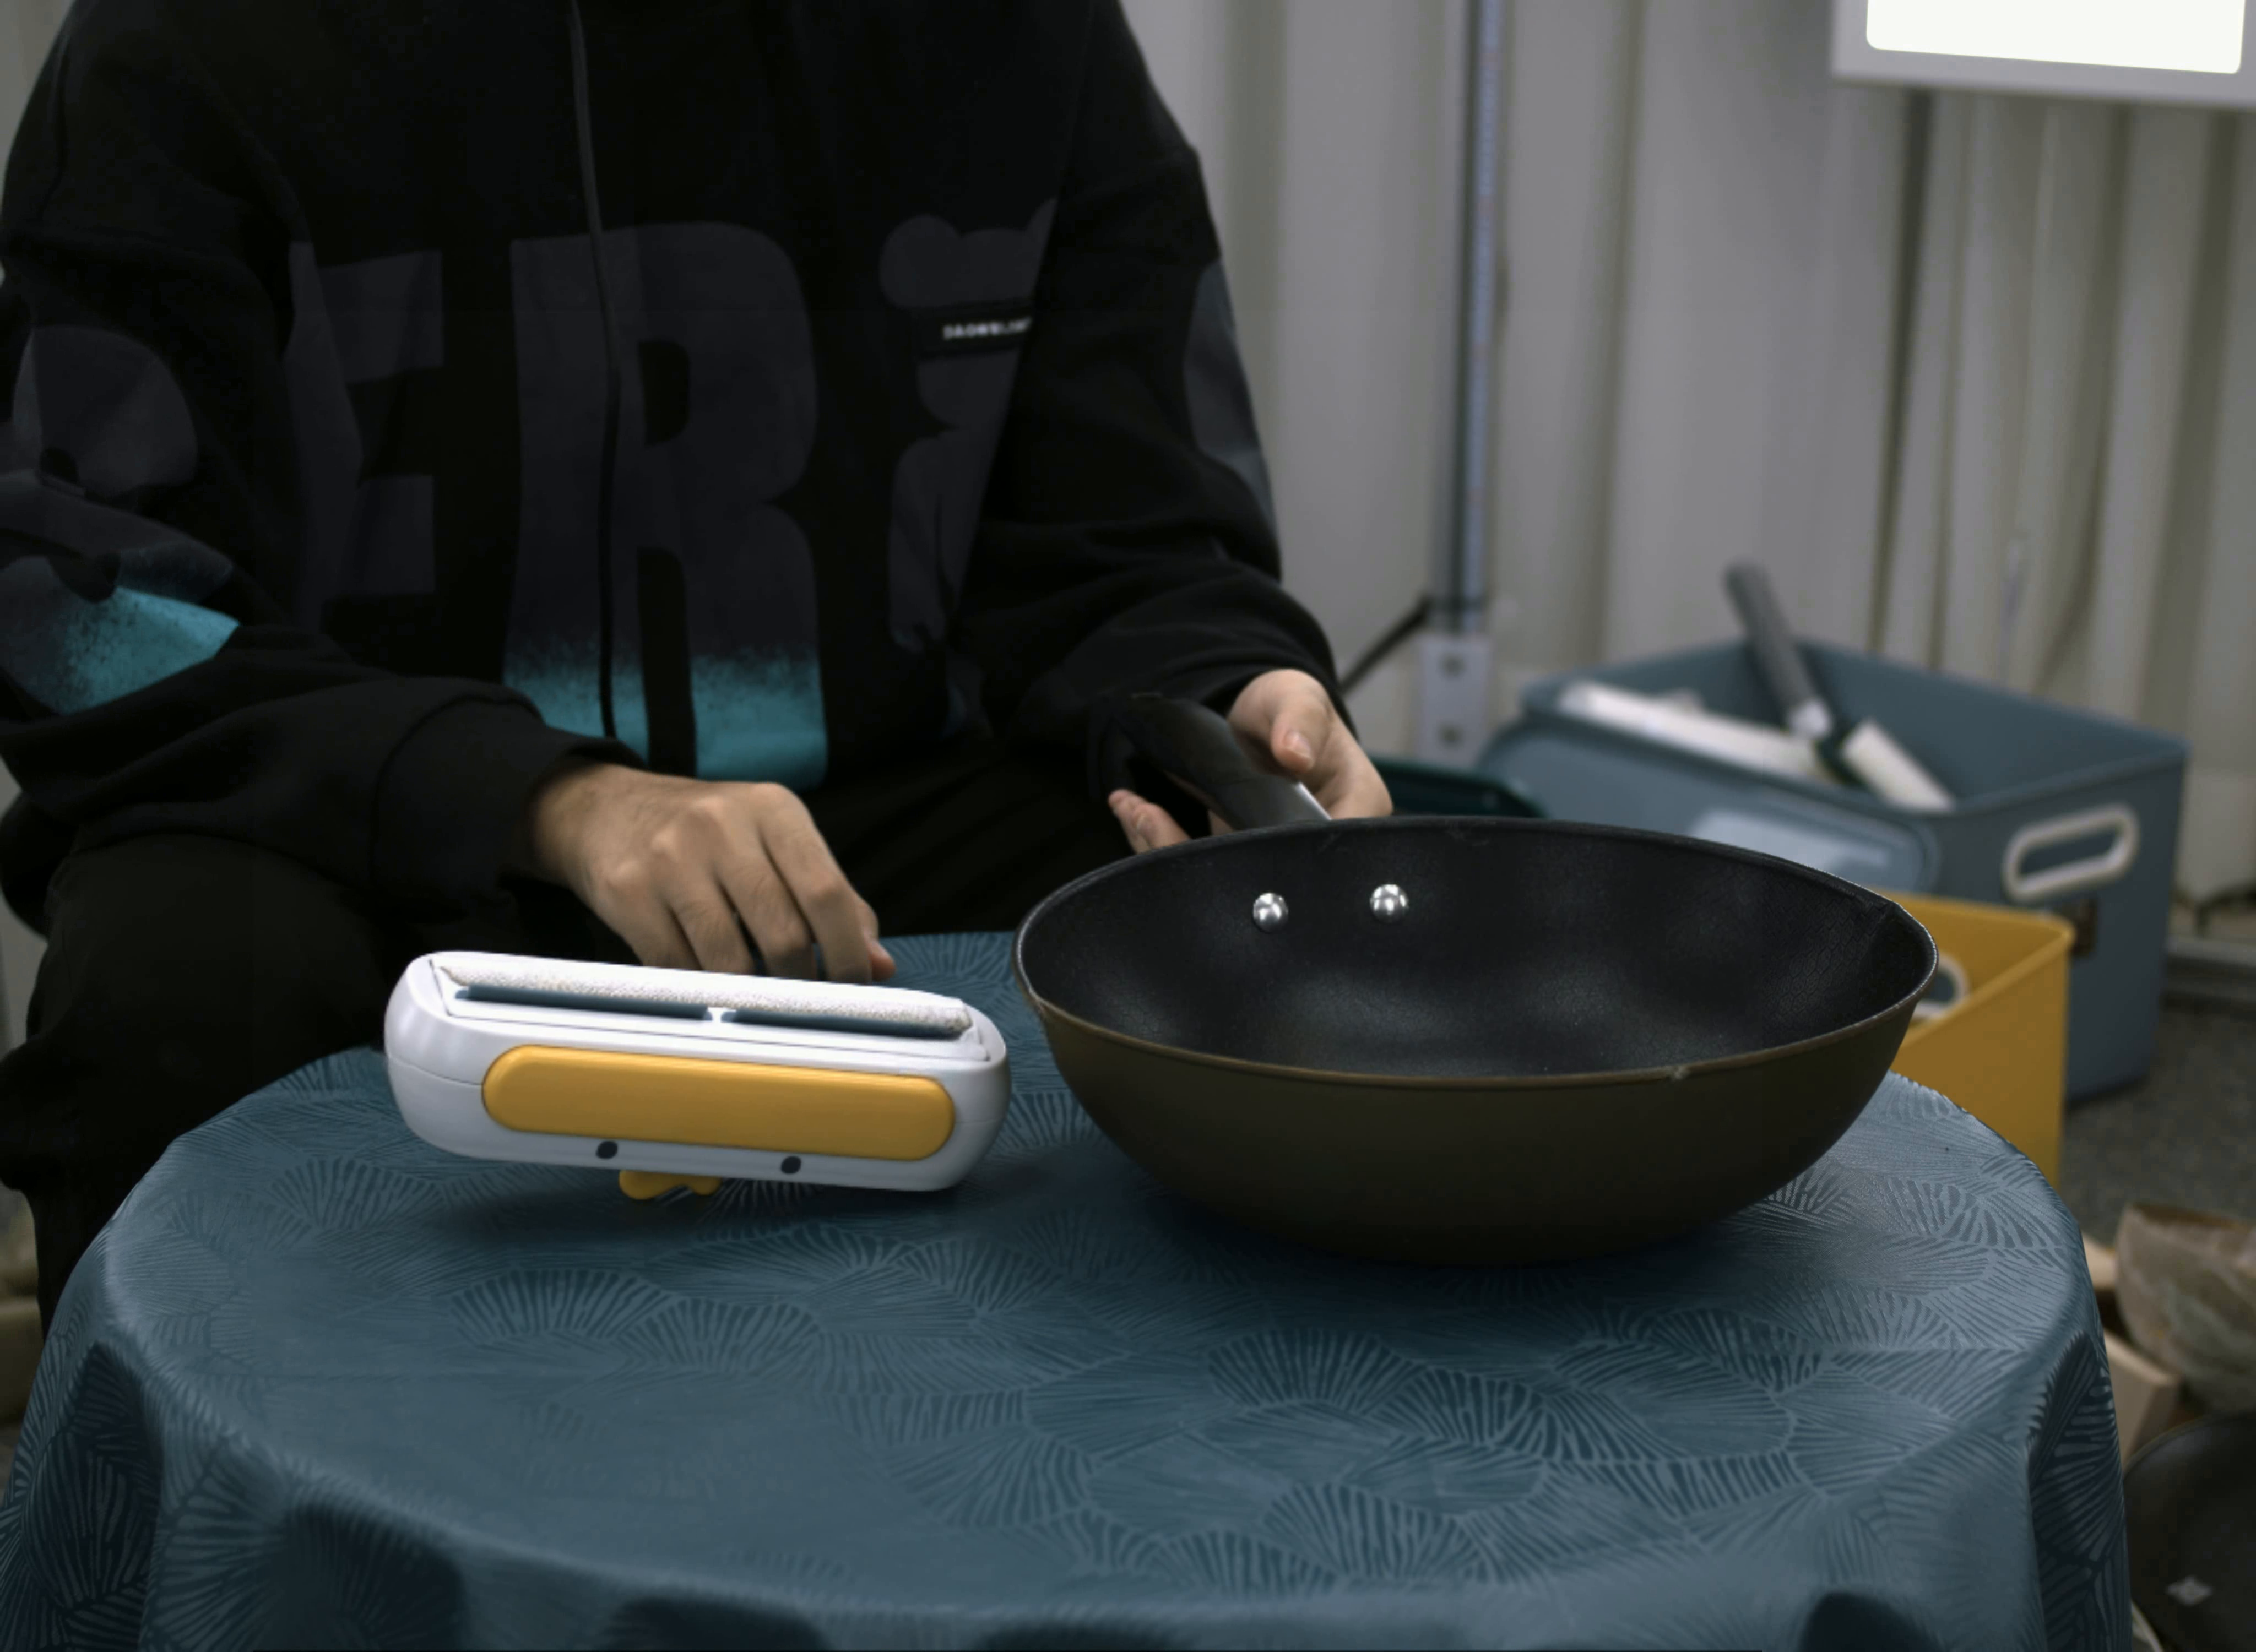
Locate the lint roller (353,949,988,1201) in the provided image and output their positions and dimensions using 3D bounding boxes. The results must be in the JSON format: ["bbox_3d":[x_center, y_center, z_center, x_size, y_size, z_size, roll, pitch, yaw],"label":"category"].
[{"bbox_3d":[-0.151,0.067,1.651,0.193,0.074,0.190,2,13,-14],"label":"lint roller"}]

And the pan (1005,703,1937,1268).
[{"bbox_3d":[0.076,0.049,1.694,0.289,0.087,0.458,-5,16,-18],"label":"pan"}]
